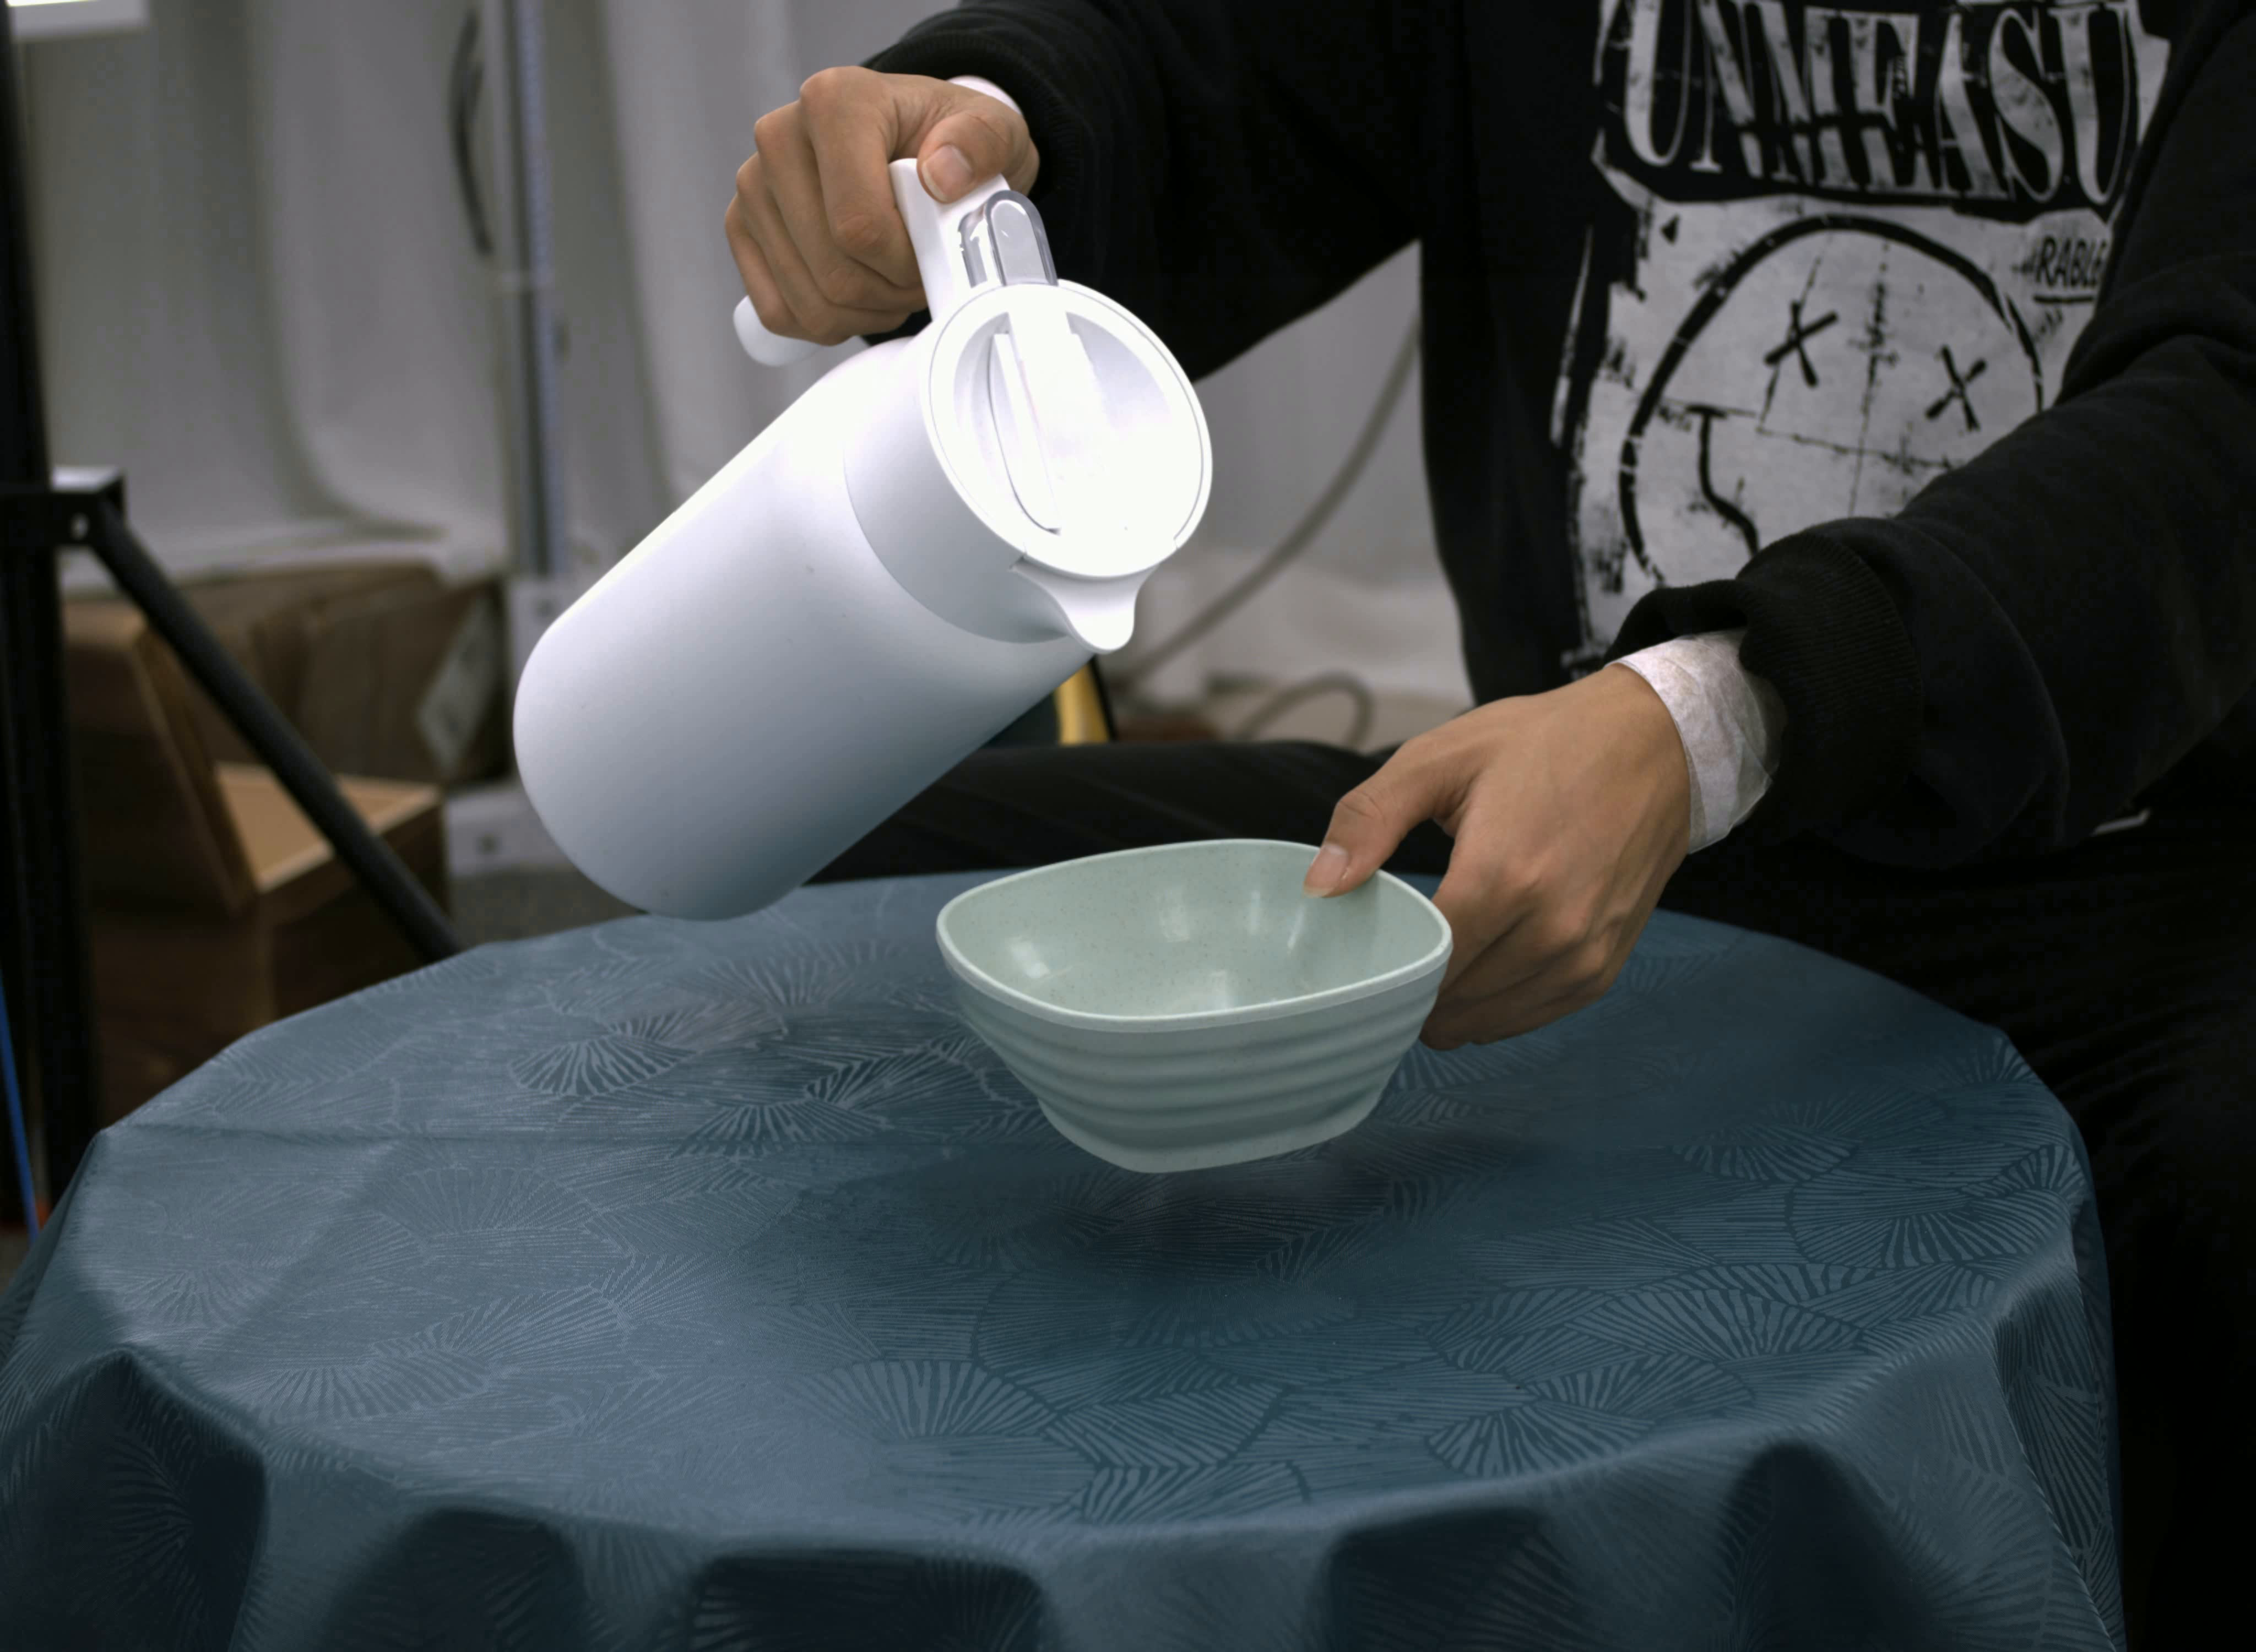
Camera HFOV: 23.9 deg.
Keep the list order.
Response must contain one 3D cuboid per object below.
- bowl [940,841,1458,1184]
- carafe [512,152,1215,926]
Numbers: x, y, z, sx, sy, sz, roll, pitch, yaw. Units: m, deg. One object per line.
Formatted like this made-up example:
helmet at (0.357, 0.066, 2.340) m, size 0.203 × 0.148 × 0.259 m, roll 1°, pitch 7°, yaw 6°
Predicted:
bowl at (0.021, 0.057, 1.514) m, size 0.151 × 0.058 × 0.152 m, roll -3°, pitch 19°, yaw 0°
carafe at (-0.090, -0.084, 1.646) m, size 0.121 × 0.175 × 0.272 m, roll -6°, pitch -19°, yaw -33°
